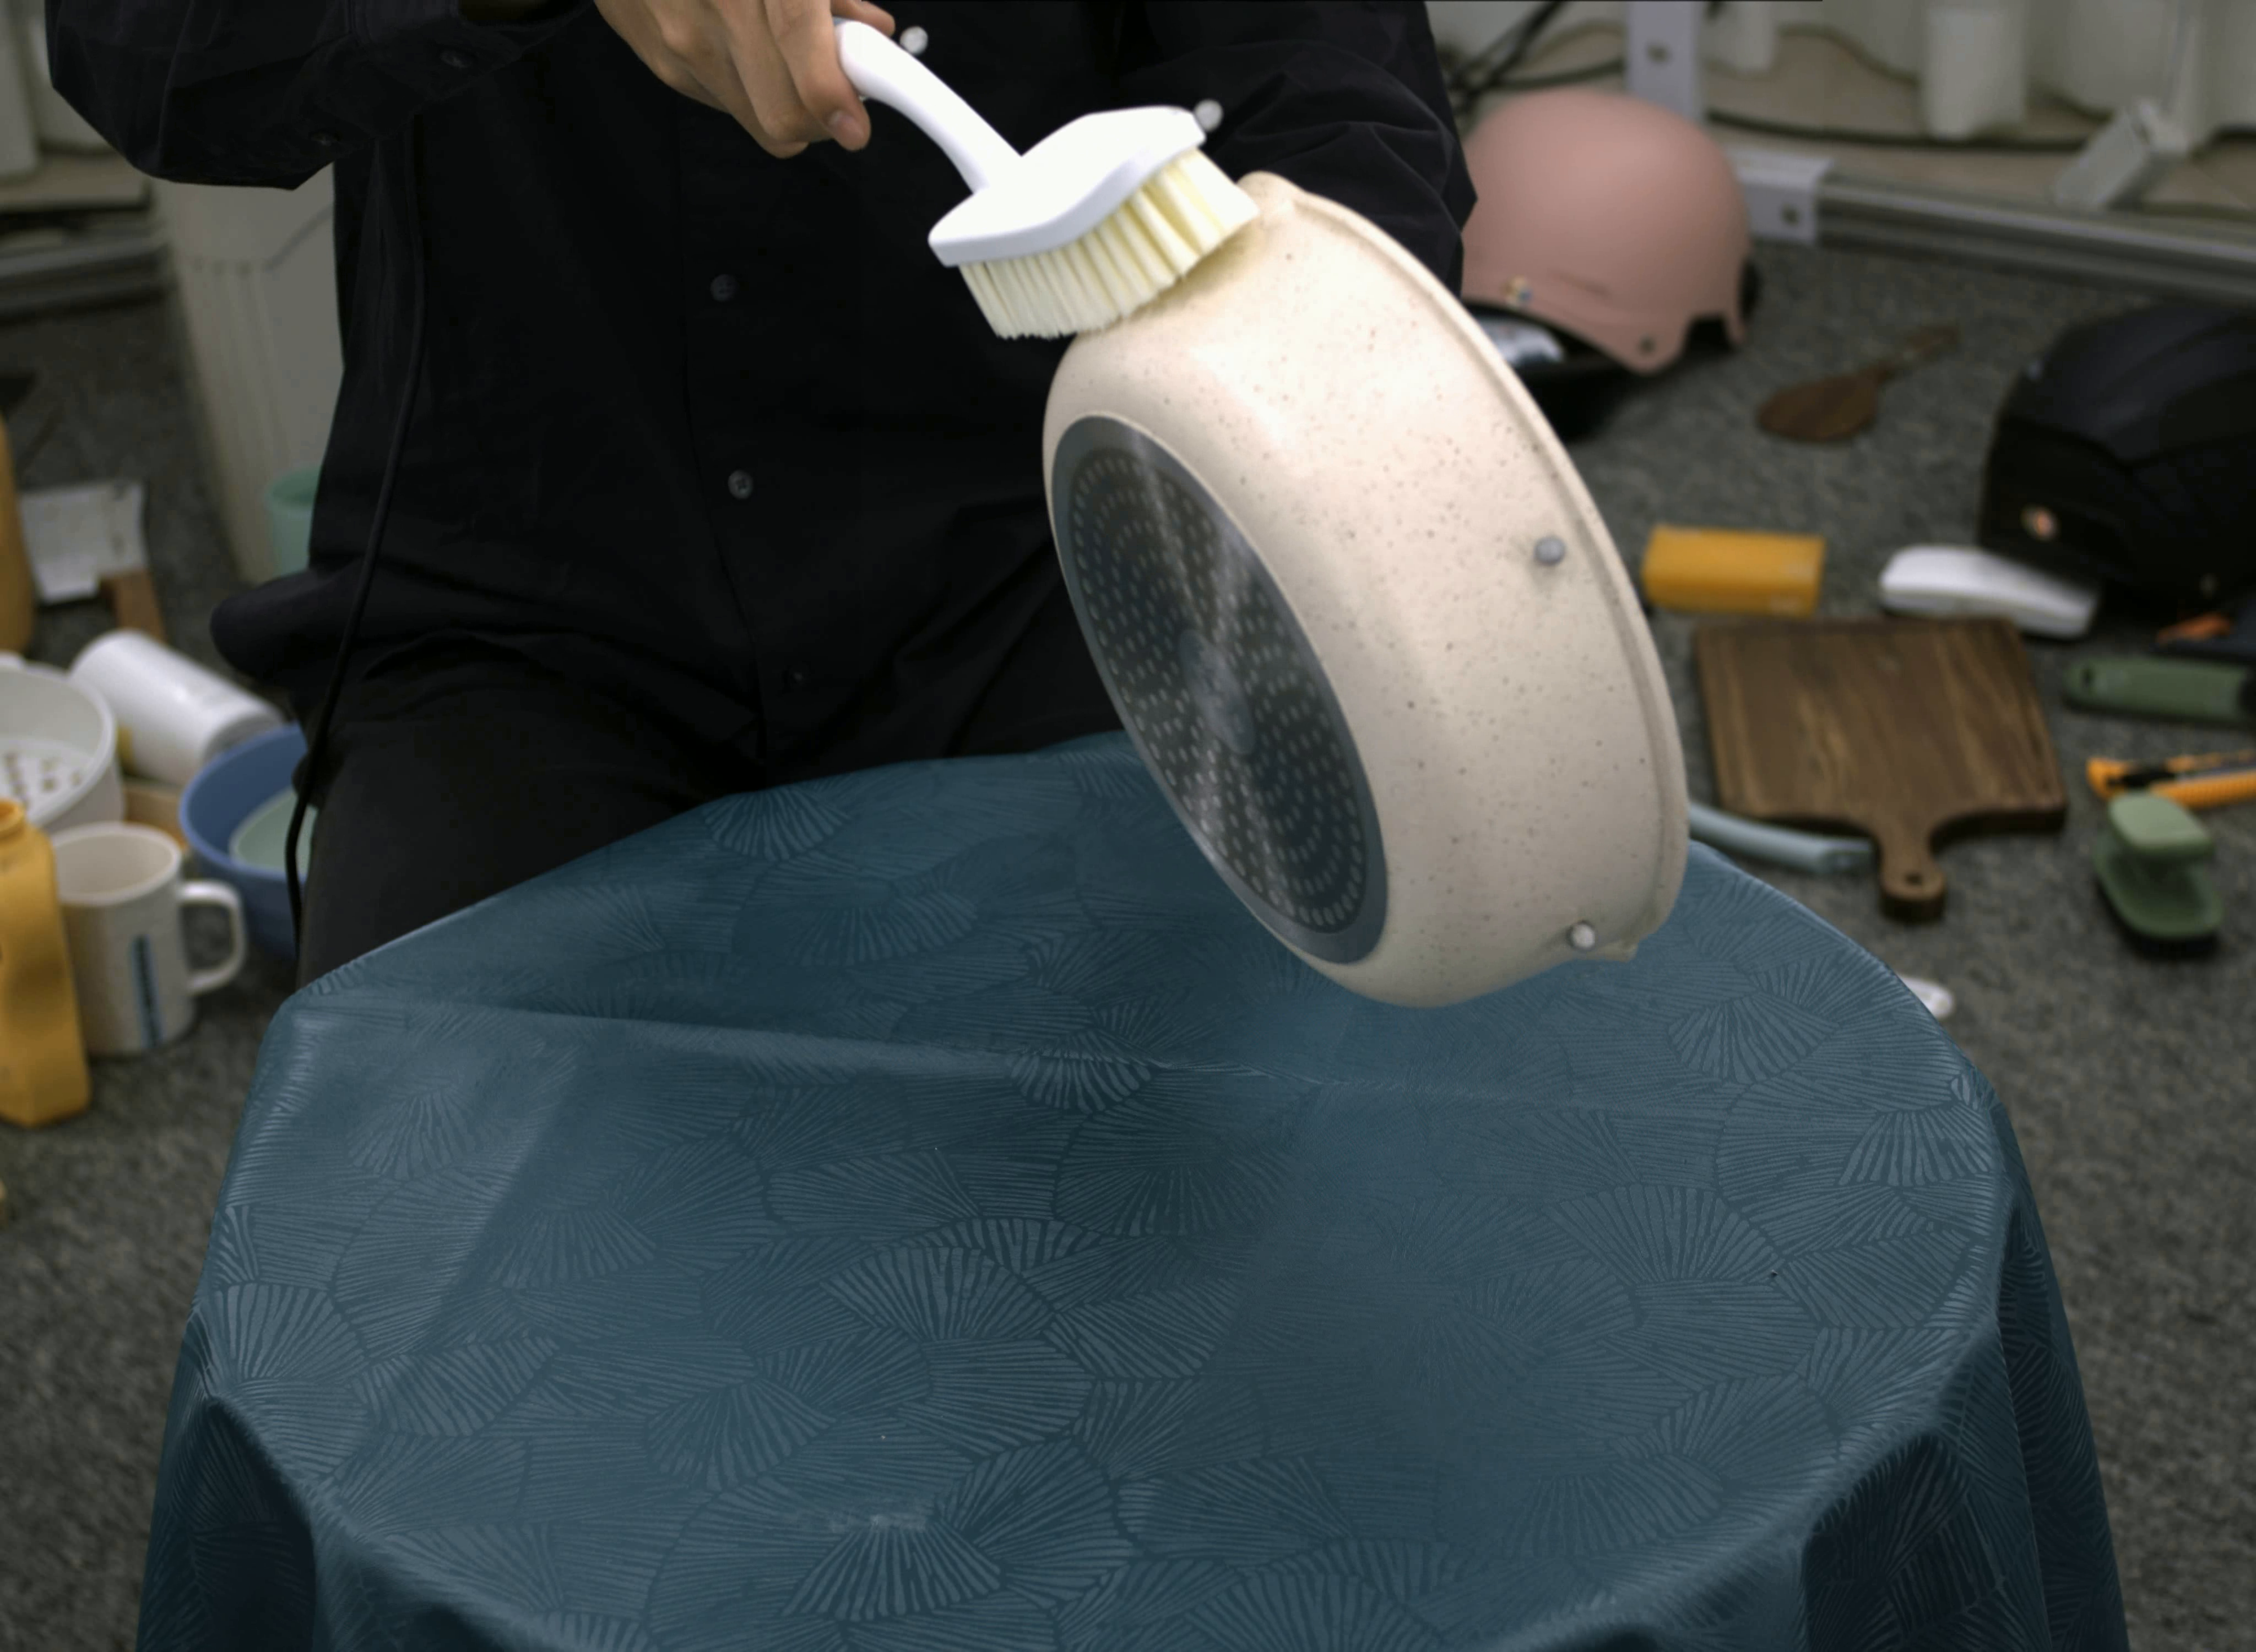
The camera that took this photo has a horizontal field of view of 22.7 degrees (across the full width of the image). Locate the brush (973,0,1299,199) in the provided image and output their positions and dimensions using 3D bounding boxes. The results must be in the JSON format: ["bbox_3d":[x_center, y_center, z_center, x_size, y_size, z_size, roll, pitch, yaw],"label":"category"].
[{"bbox_3d":[-0.037,-0.246,1.773,0.083,0.084,0.325,0,13,-30],"label":"brush"}]

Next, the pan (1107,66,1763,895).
[{"bbox_3d":[0.058,-0.092,1.781,0.102,0.263,0.432,-29,7,-18],"label":"pan"}]
